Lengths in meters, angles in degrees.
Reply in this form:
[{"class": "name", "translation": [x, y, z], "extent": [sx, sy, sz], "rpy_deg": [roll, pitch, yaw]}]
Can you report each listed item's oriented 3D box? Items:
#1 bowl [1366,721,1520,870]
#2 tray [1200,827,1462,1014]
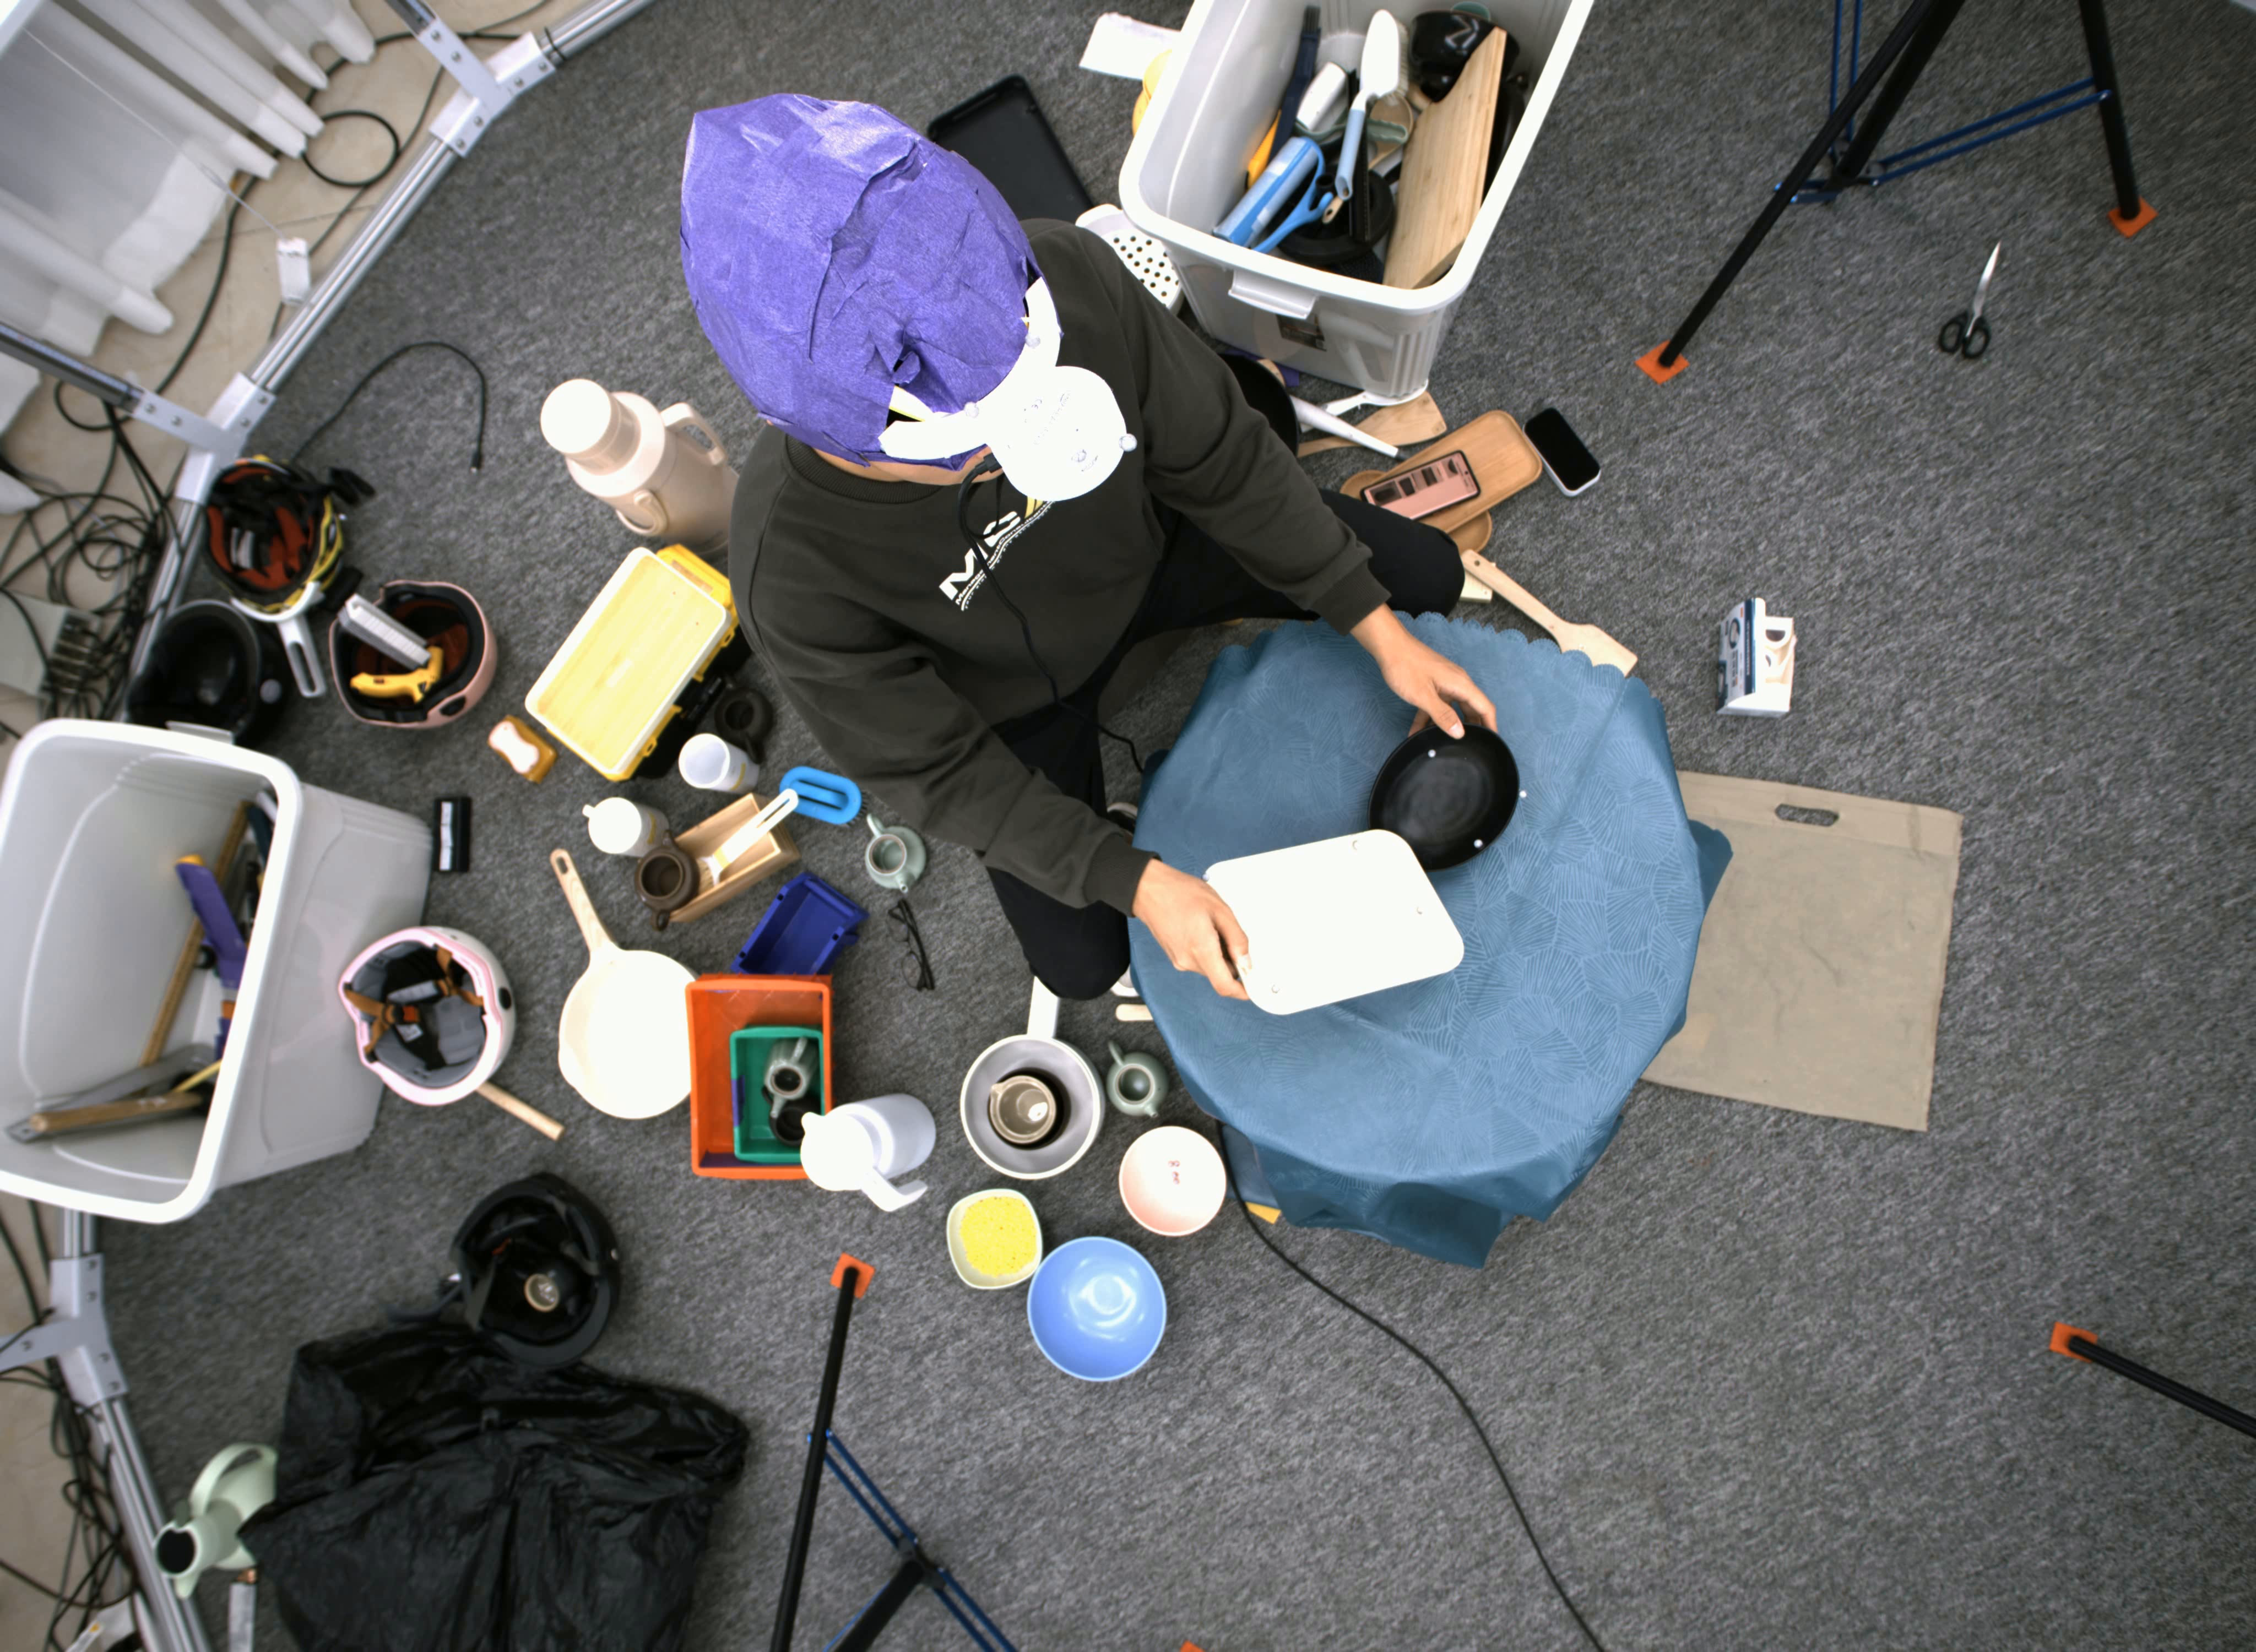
[{"class": "bowl", "translation": [0.325, -0.030, 1.421], "extent": [0.136, 0.066, 0.172], "rpy_deg": [44, 103, 11]}, {"class": "tray", "translation": [0.198, 0.089, 1.350], "extent": [0.238, 0.018, 0.168], "rpy_deg": [-12, 61, -21]}]
